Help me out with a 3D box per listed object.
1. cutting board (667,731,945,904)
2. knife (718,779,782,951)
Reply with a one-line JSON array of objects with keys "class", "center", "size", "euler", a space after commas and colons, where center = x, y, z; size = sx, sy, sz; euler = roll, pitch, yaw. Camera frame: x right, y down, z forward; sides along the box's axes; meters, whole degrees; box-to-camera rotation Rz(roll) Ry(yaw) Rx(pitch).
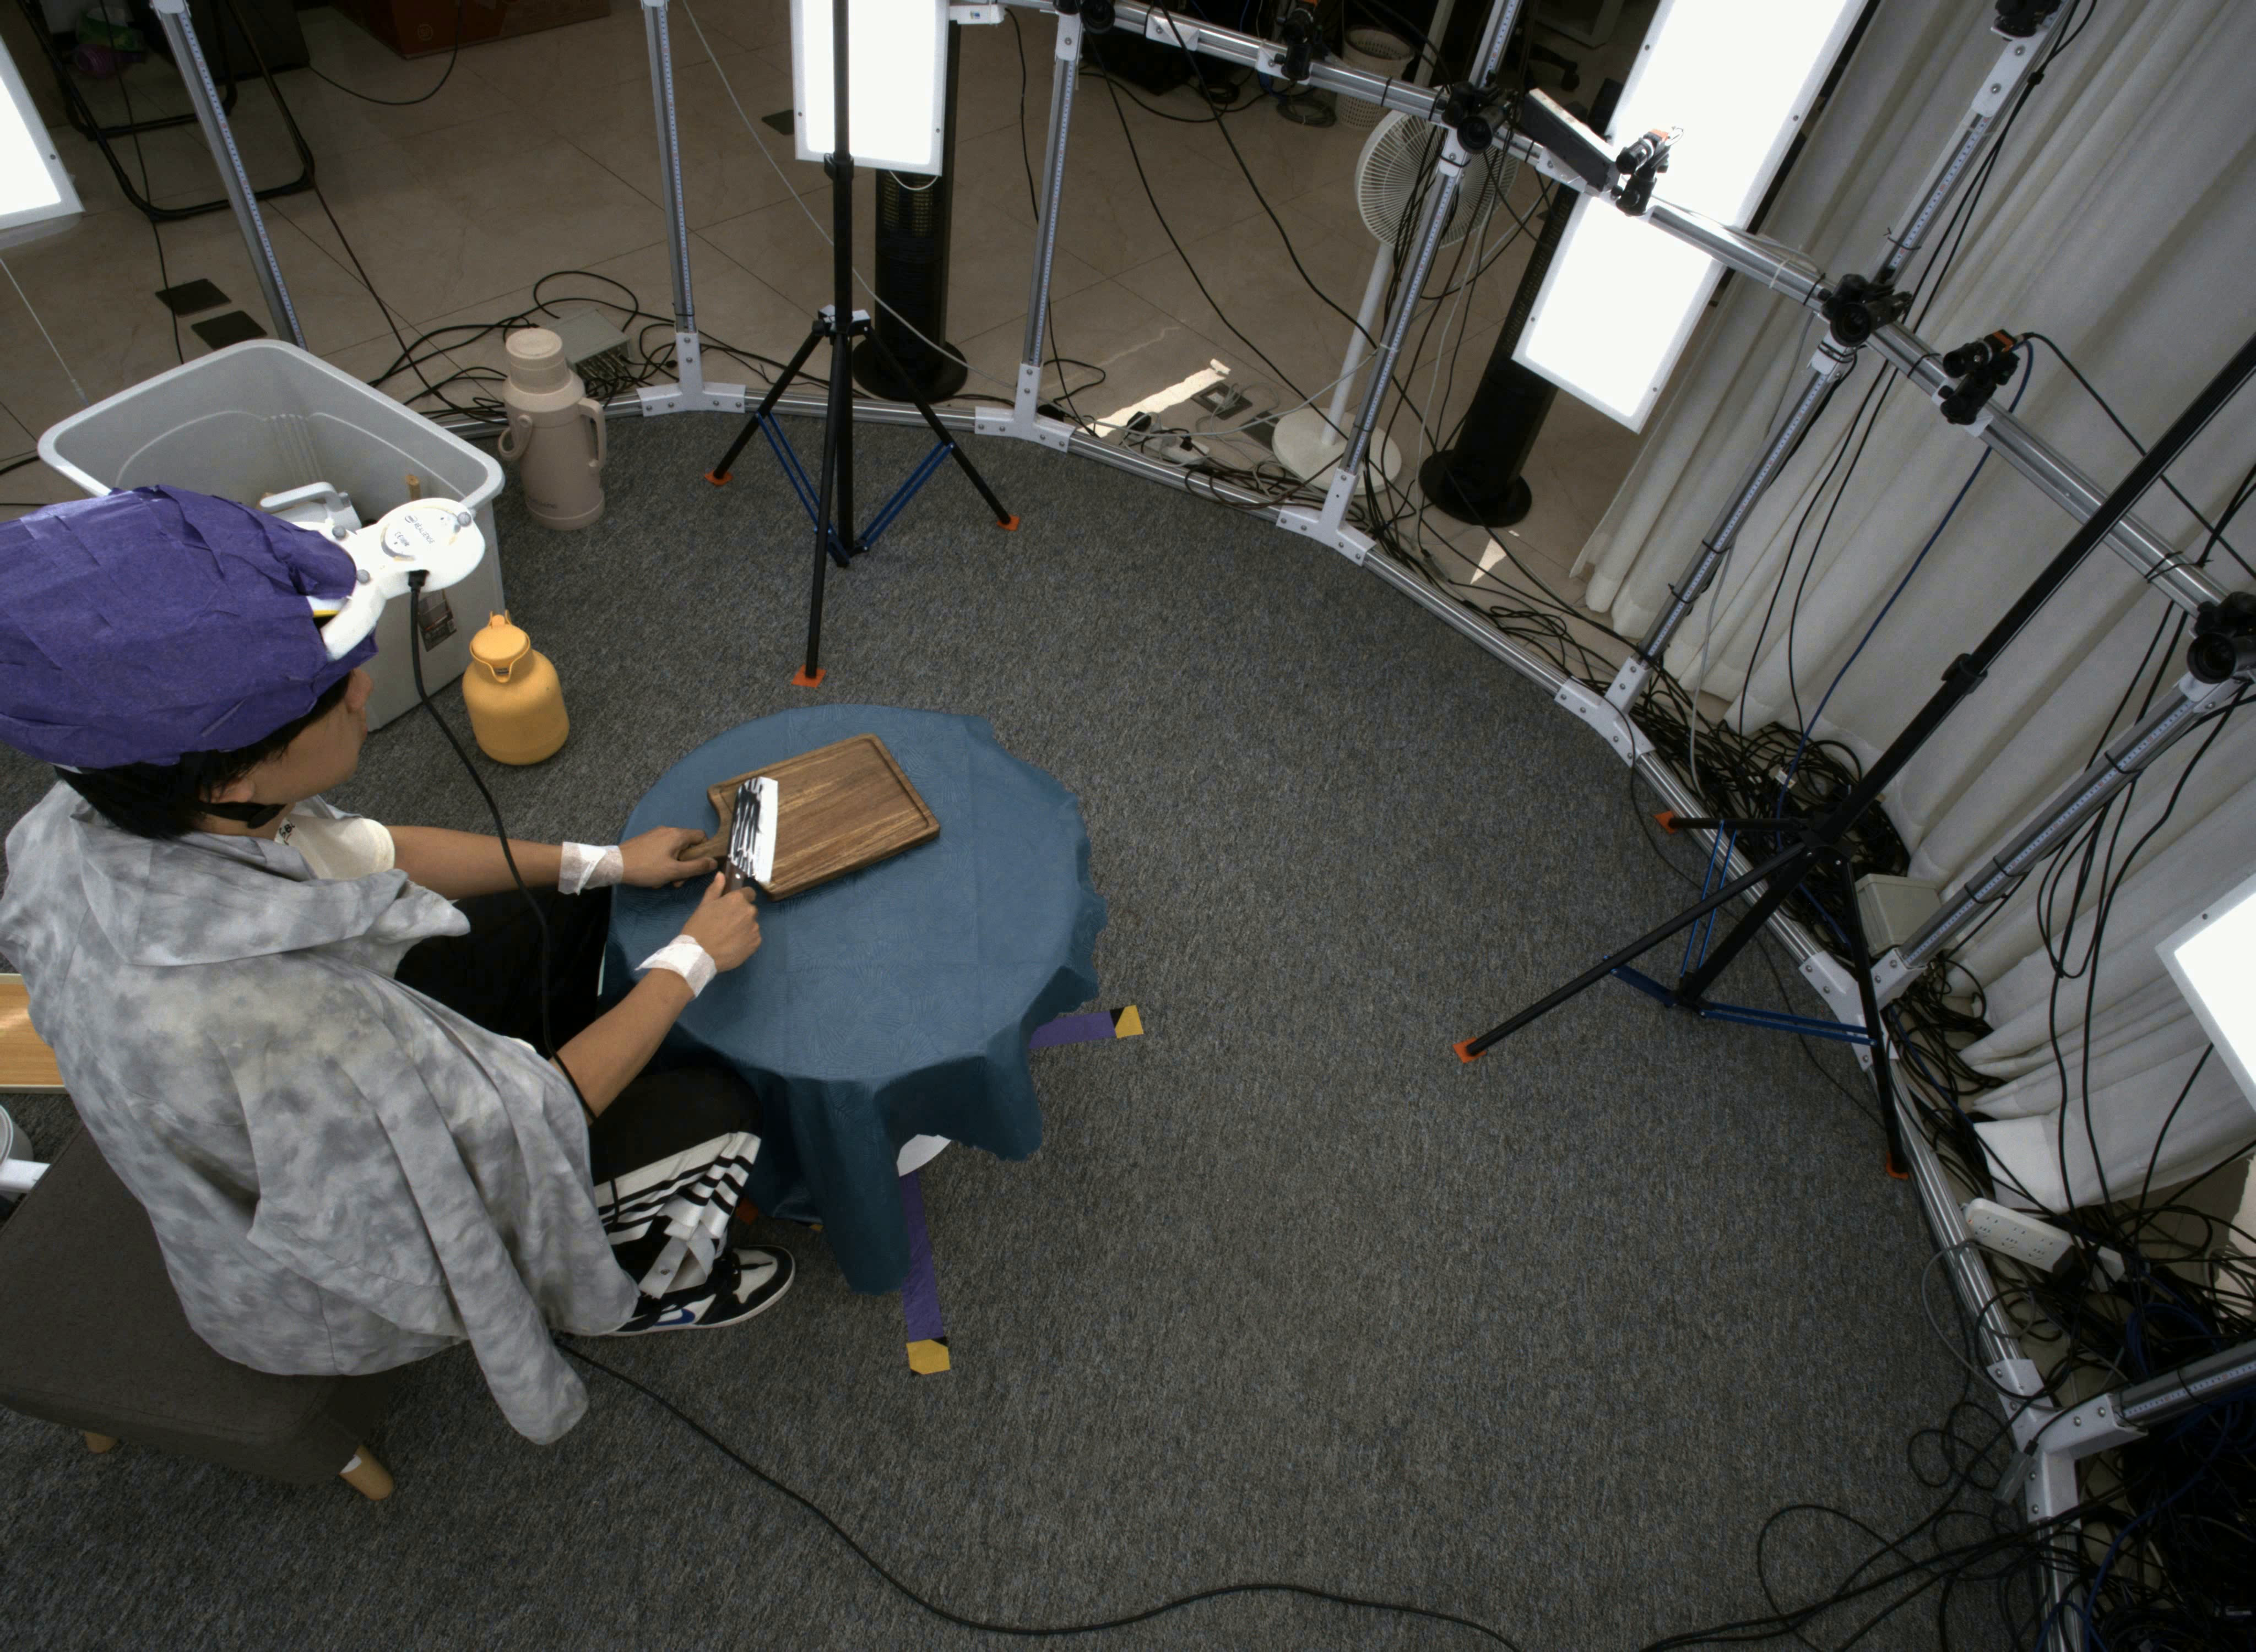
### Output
[{"class": "cutting board", "center": [-0.437, -0.002, 1.700], "size": [0.354, 0.023, 0.196], "euler": [-24, 63, -30]}, {"class": "knife", "center": [-0.467, 0.041, 1.616], "size": [0.070, 0.023, 0.293], "euler": [37, 34, -38]}]
